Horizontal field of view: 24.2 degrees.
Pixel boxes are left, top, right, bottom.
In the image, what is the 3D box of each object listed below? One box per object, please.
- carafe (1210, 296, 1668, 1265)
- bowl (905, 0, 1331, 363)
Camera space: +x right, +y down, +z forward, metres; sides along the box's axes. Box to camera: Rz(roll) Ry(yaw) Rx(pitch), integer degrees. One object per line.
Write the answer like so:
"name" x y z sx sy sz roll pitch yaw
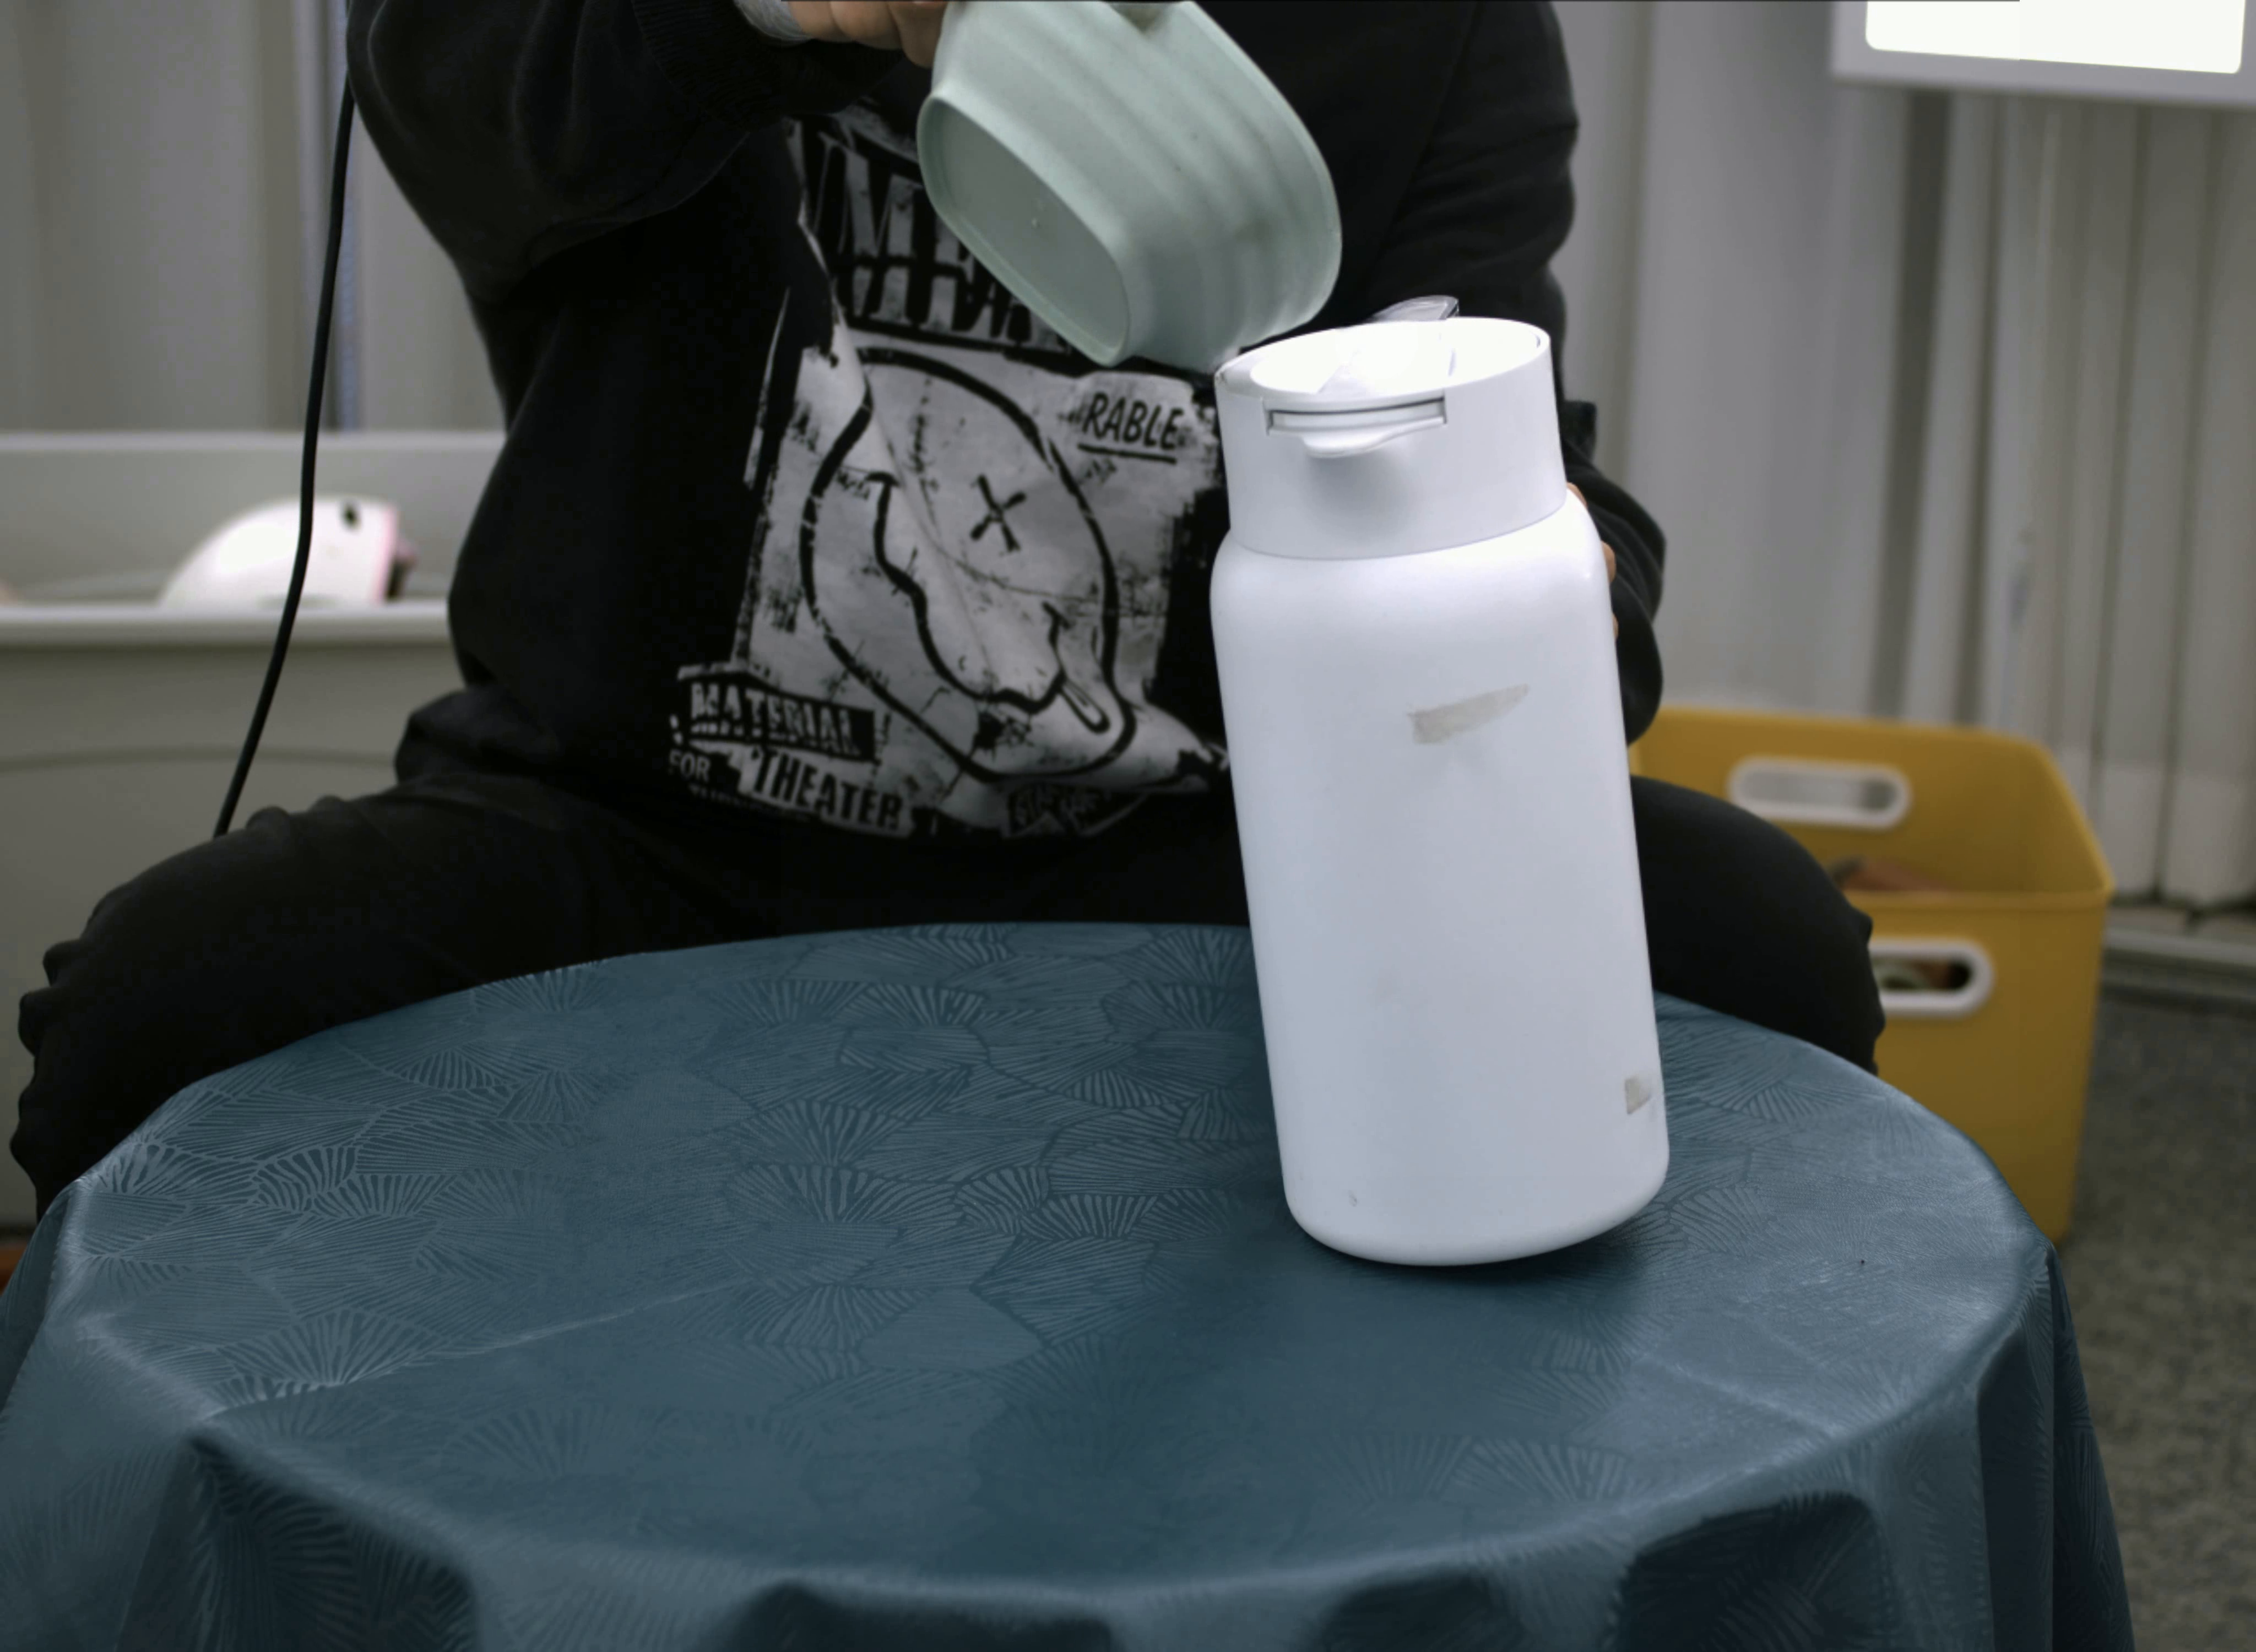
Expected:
"carafe" 0.092 -0.018 1.571 0.123 0.271 0.172 -5 18 15
"bowl" -0.013 -0.184 1.460 0.058 0.153 0.149 -43 34 -16
